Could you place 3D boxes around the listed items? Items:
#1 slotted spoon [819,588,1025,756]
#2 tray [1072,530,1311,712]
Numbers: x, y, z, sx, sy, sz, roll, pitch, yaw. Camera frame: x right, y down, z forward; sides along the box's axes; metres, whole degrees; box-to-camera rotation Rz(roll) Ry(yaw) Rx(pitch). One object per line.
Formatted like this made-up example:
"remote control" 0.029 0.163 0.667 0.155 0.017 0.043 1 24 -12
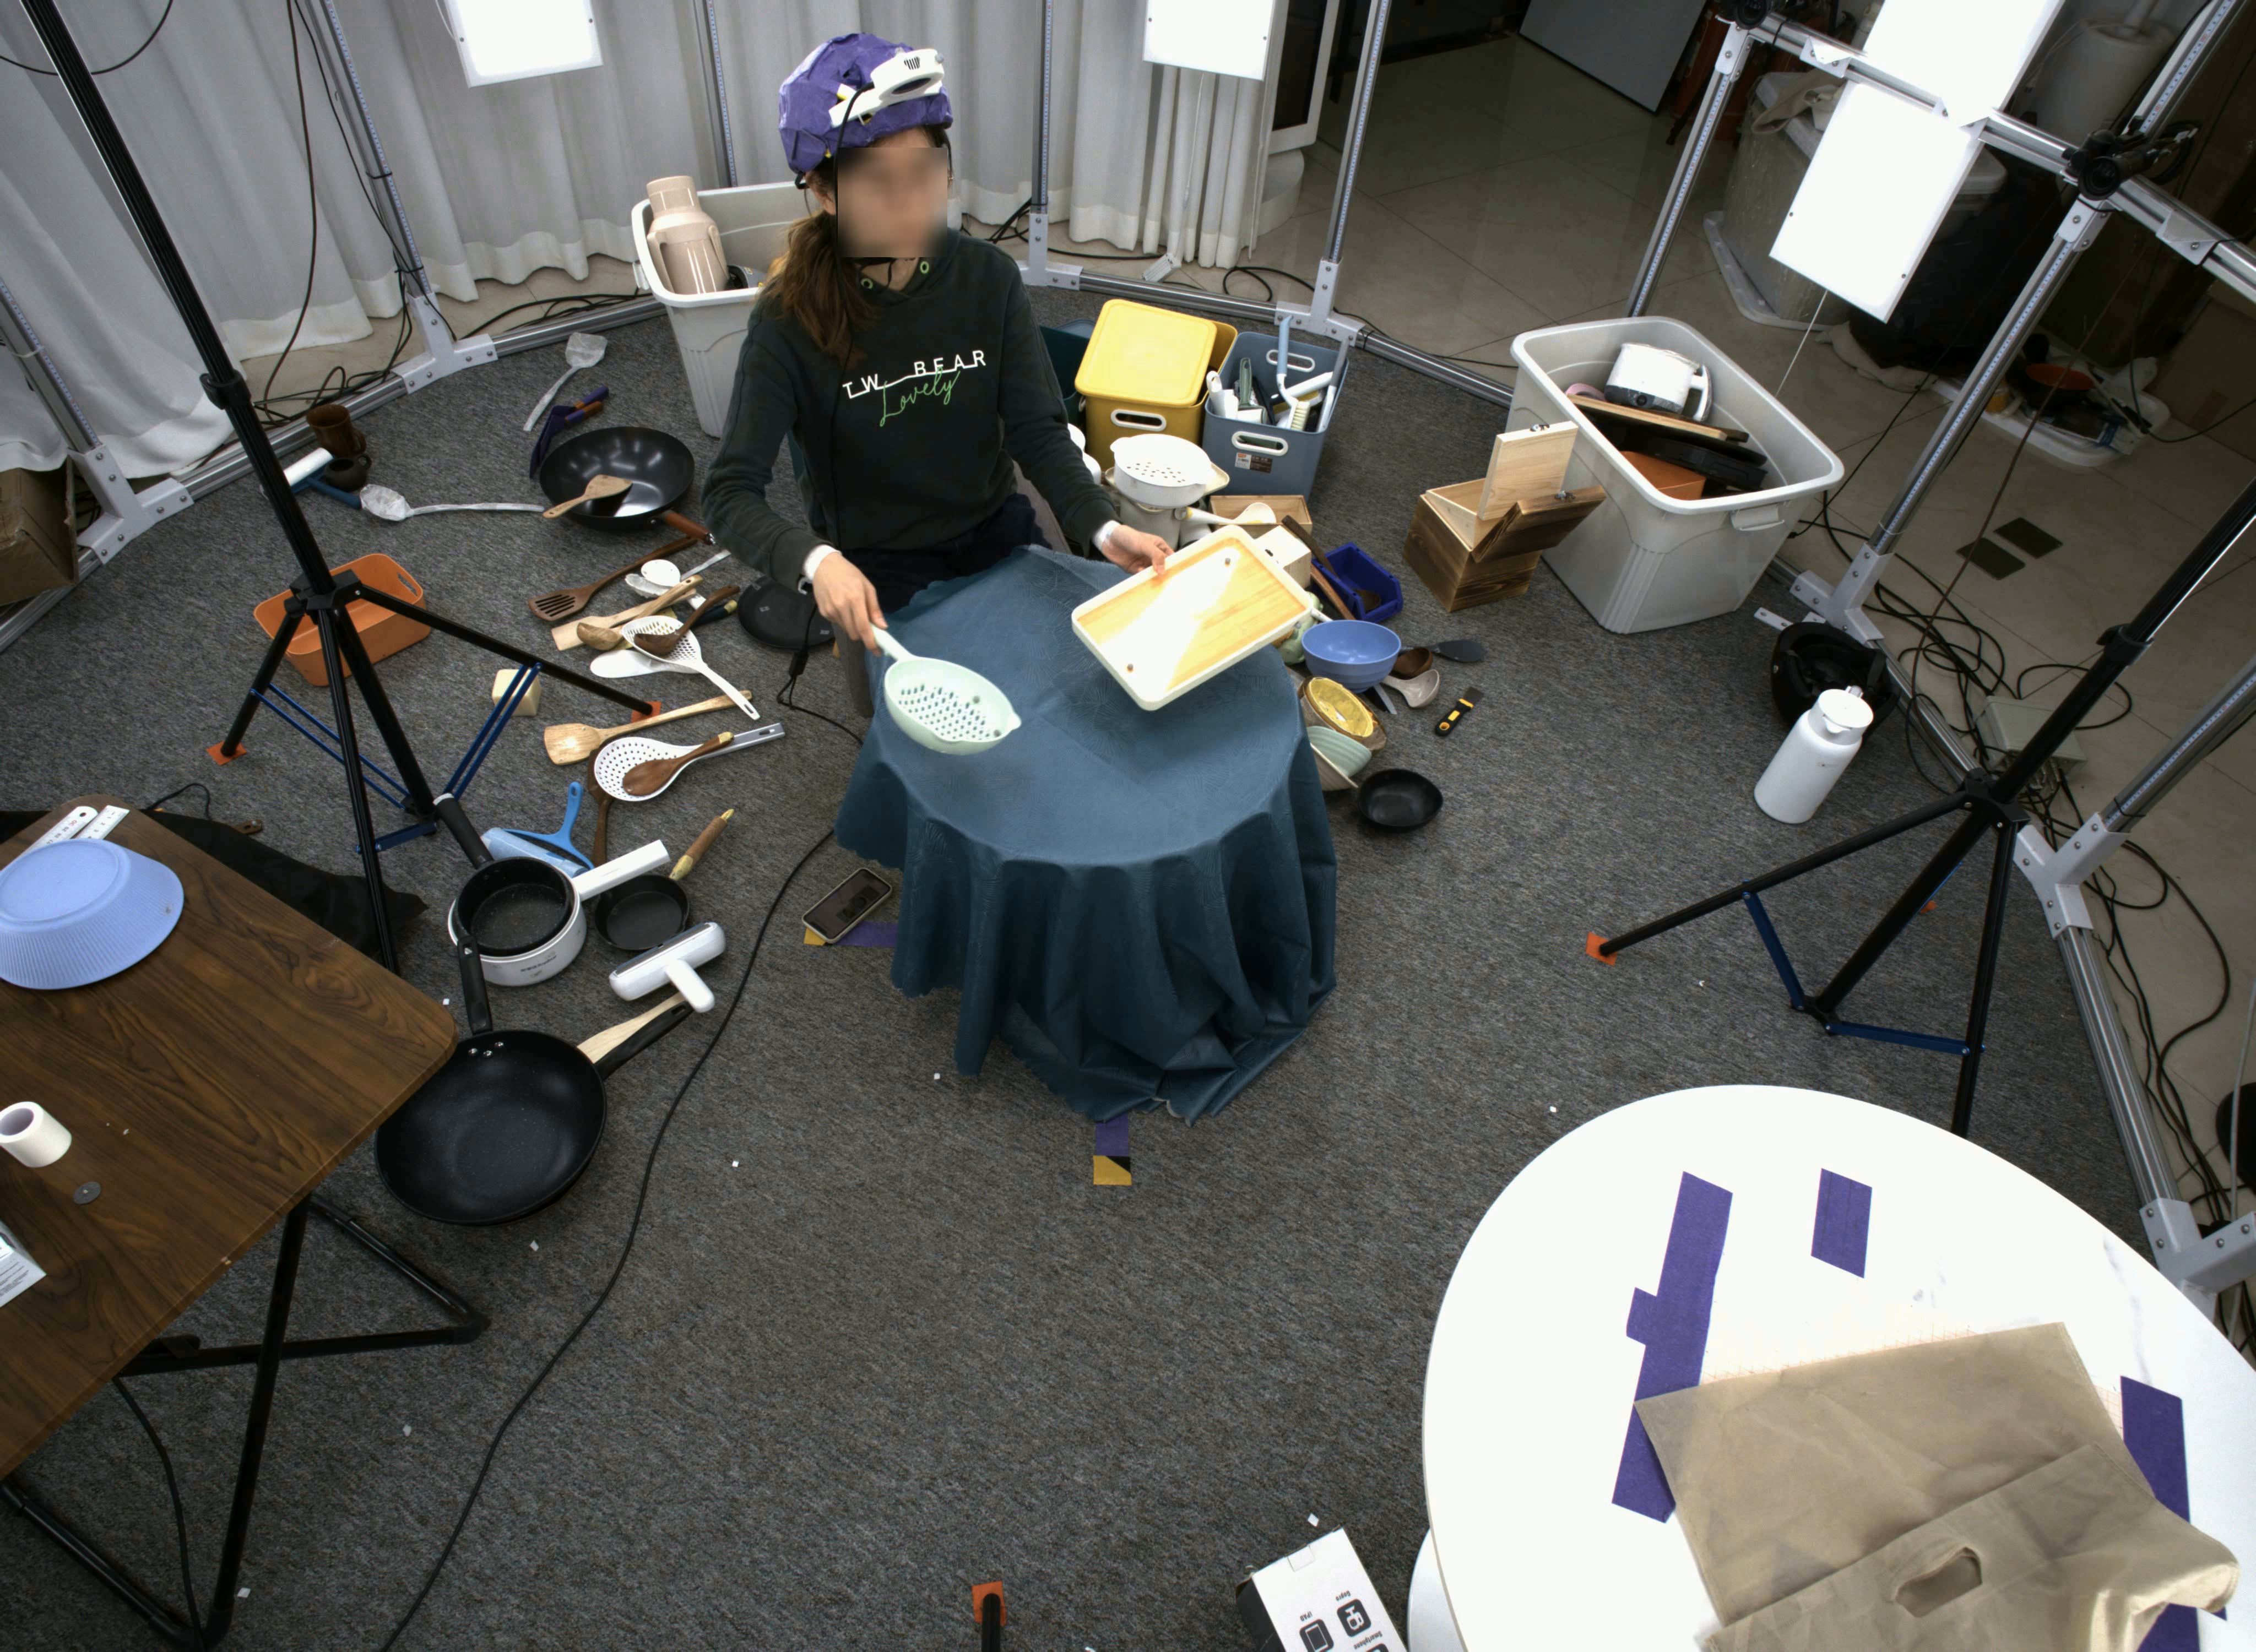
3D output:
"slotted spoon" -0.287 -0.211 1.659 0.169 0.074 0.364 -16 59 -48
"tray" 0.090 -0.294 1.812 0.302 0.027 0.195 -31 64 -19
